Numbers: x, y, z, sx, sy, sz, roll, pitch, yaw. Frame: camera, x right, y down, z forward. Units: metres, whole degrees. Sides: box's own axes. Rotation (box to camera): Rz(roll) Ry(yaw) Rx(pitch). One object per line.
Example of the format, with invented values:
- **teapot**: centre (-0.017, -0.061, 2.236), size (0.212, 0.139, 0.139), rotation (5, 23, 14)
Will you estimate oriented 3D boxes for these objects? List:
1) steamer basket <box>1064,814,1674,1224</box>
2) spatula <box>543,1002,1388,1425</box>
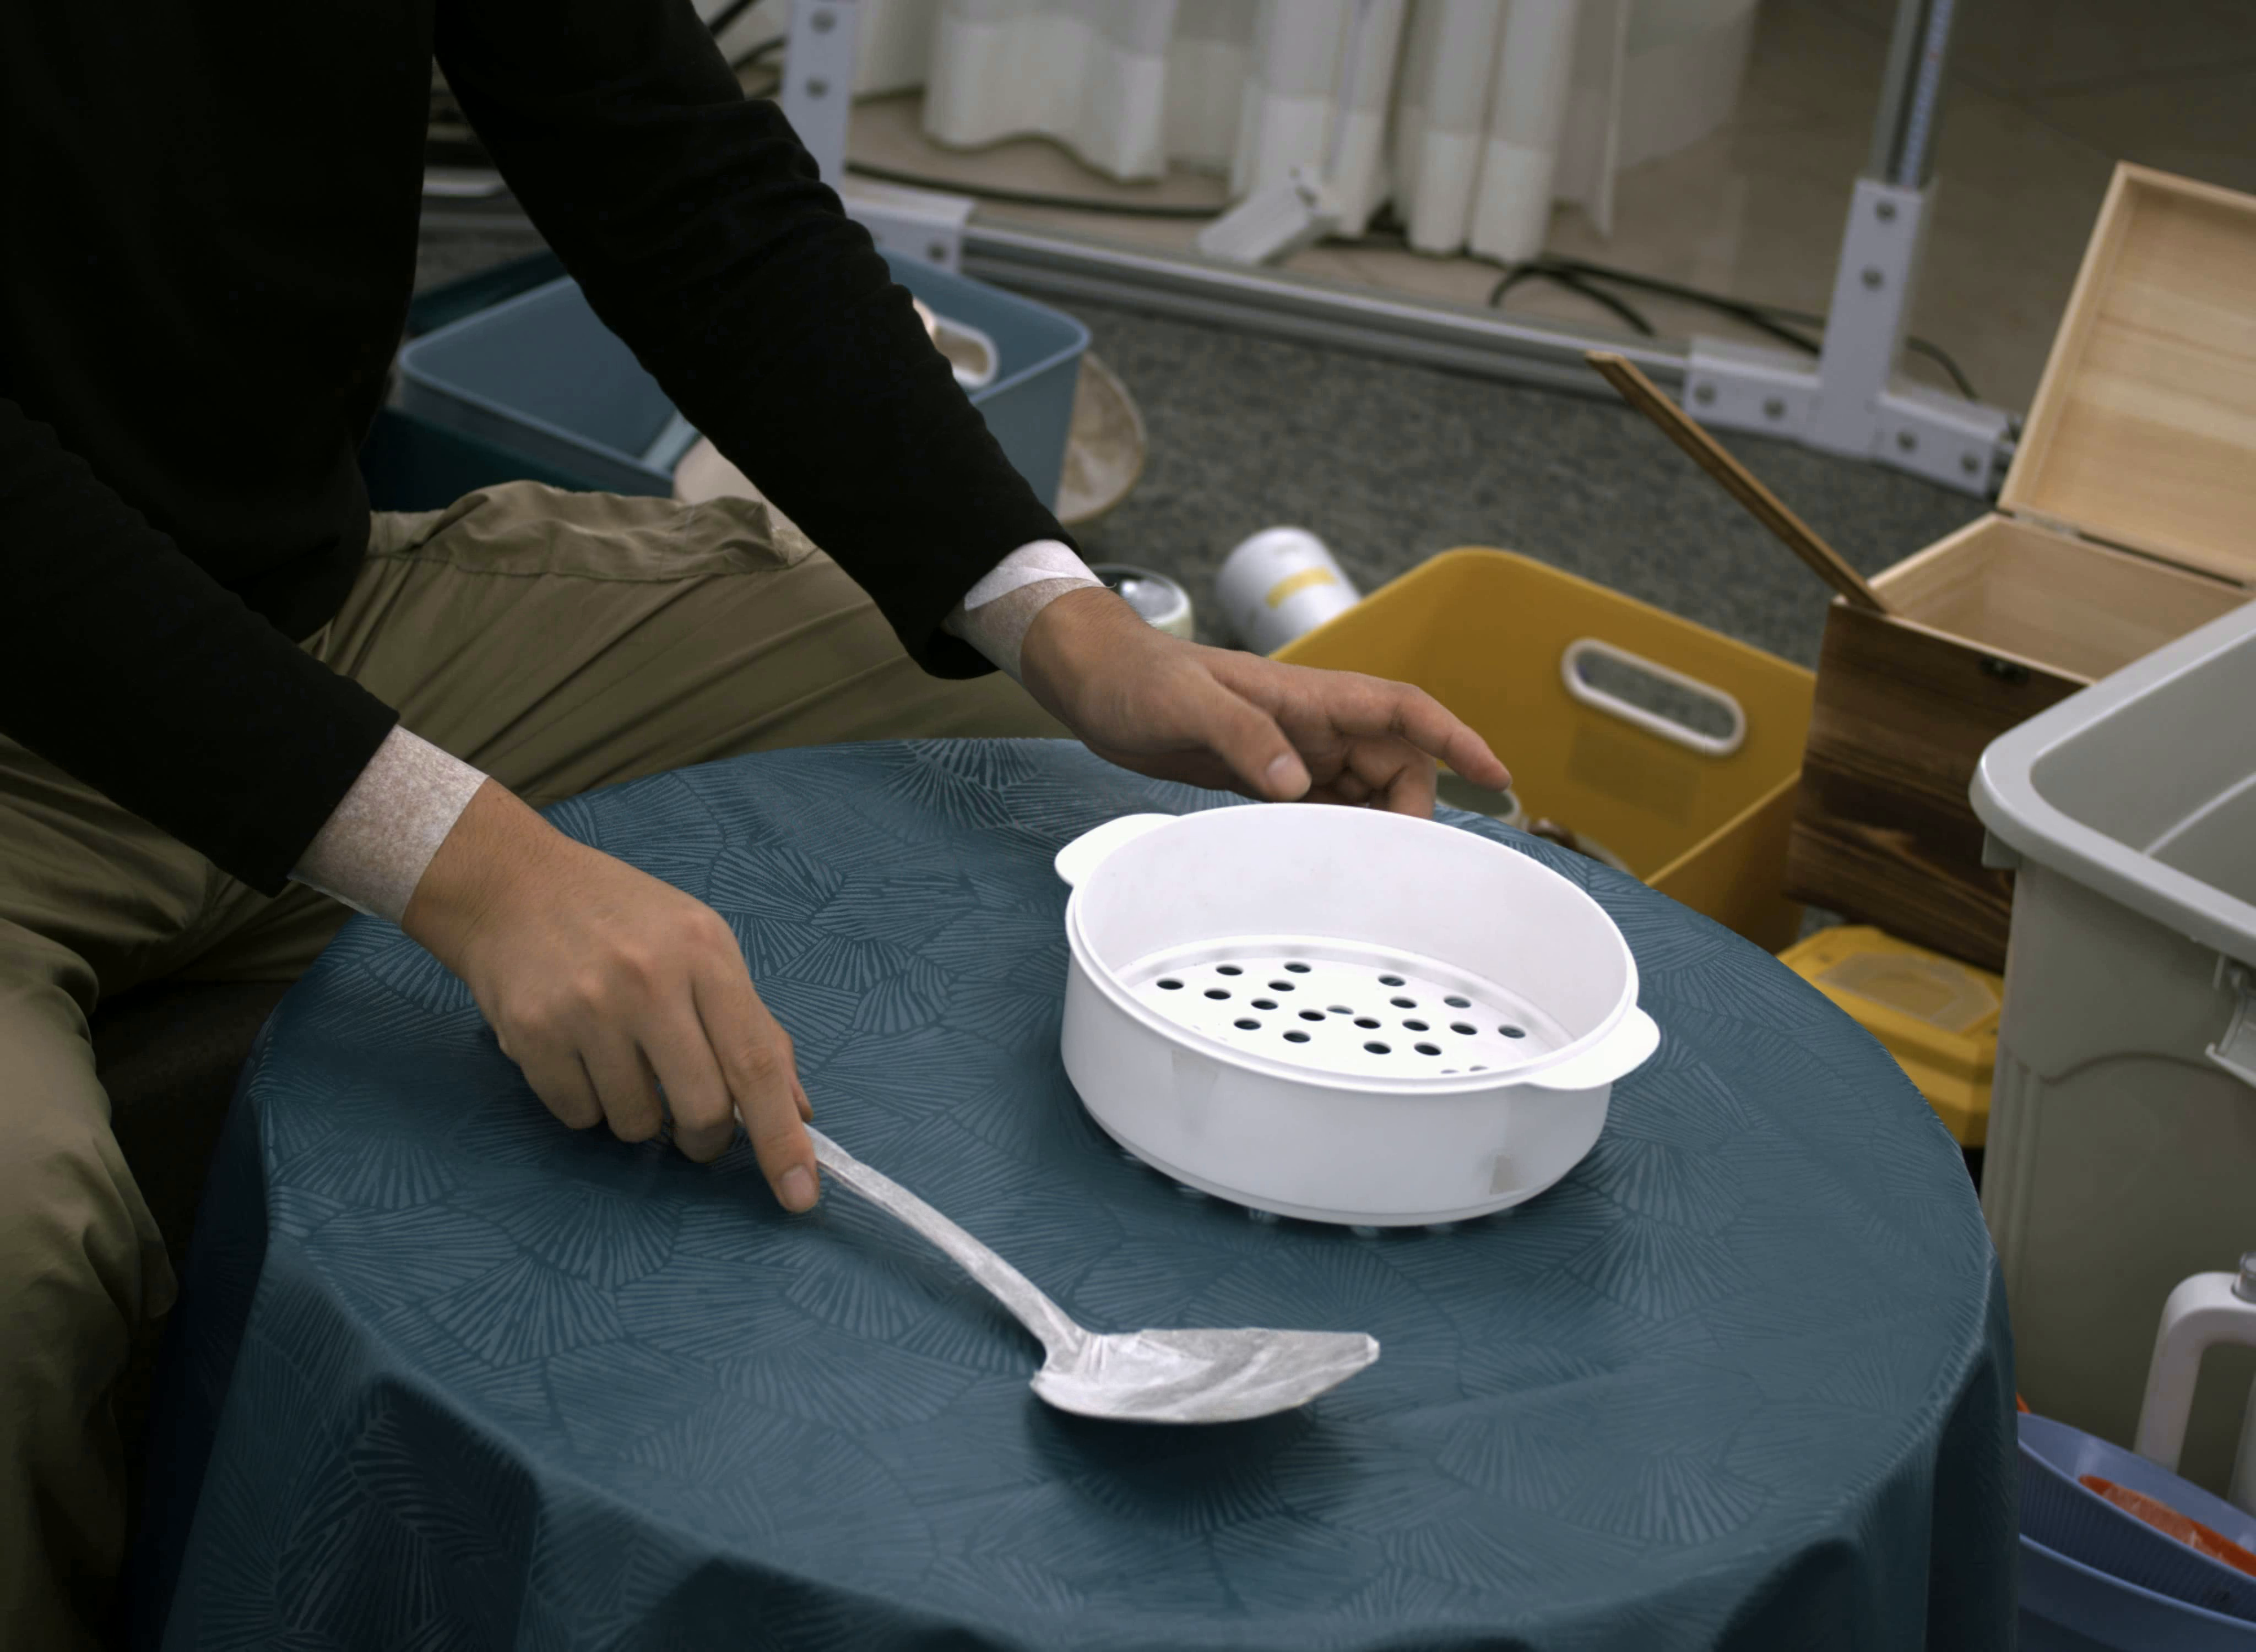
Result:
- **steamer basket**: centre (0.079, 0.067, 1.853), size (0.232, 0.069, 0.201), rotation (22, 30, 30)
- **spatula**: centre (-0.074, 0.119, 1.746), size (0.367, 0.044, 0.098), rotation (29, 32, 35)
